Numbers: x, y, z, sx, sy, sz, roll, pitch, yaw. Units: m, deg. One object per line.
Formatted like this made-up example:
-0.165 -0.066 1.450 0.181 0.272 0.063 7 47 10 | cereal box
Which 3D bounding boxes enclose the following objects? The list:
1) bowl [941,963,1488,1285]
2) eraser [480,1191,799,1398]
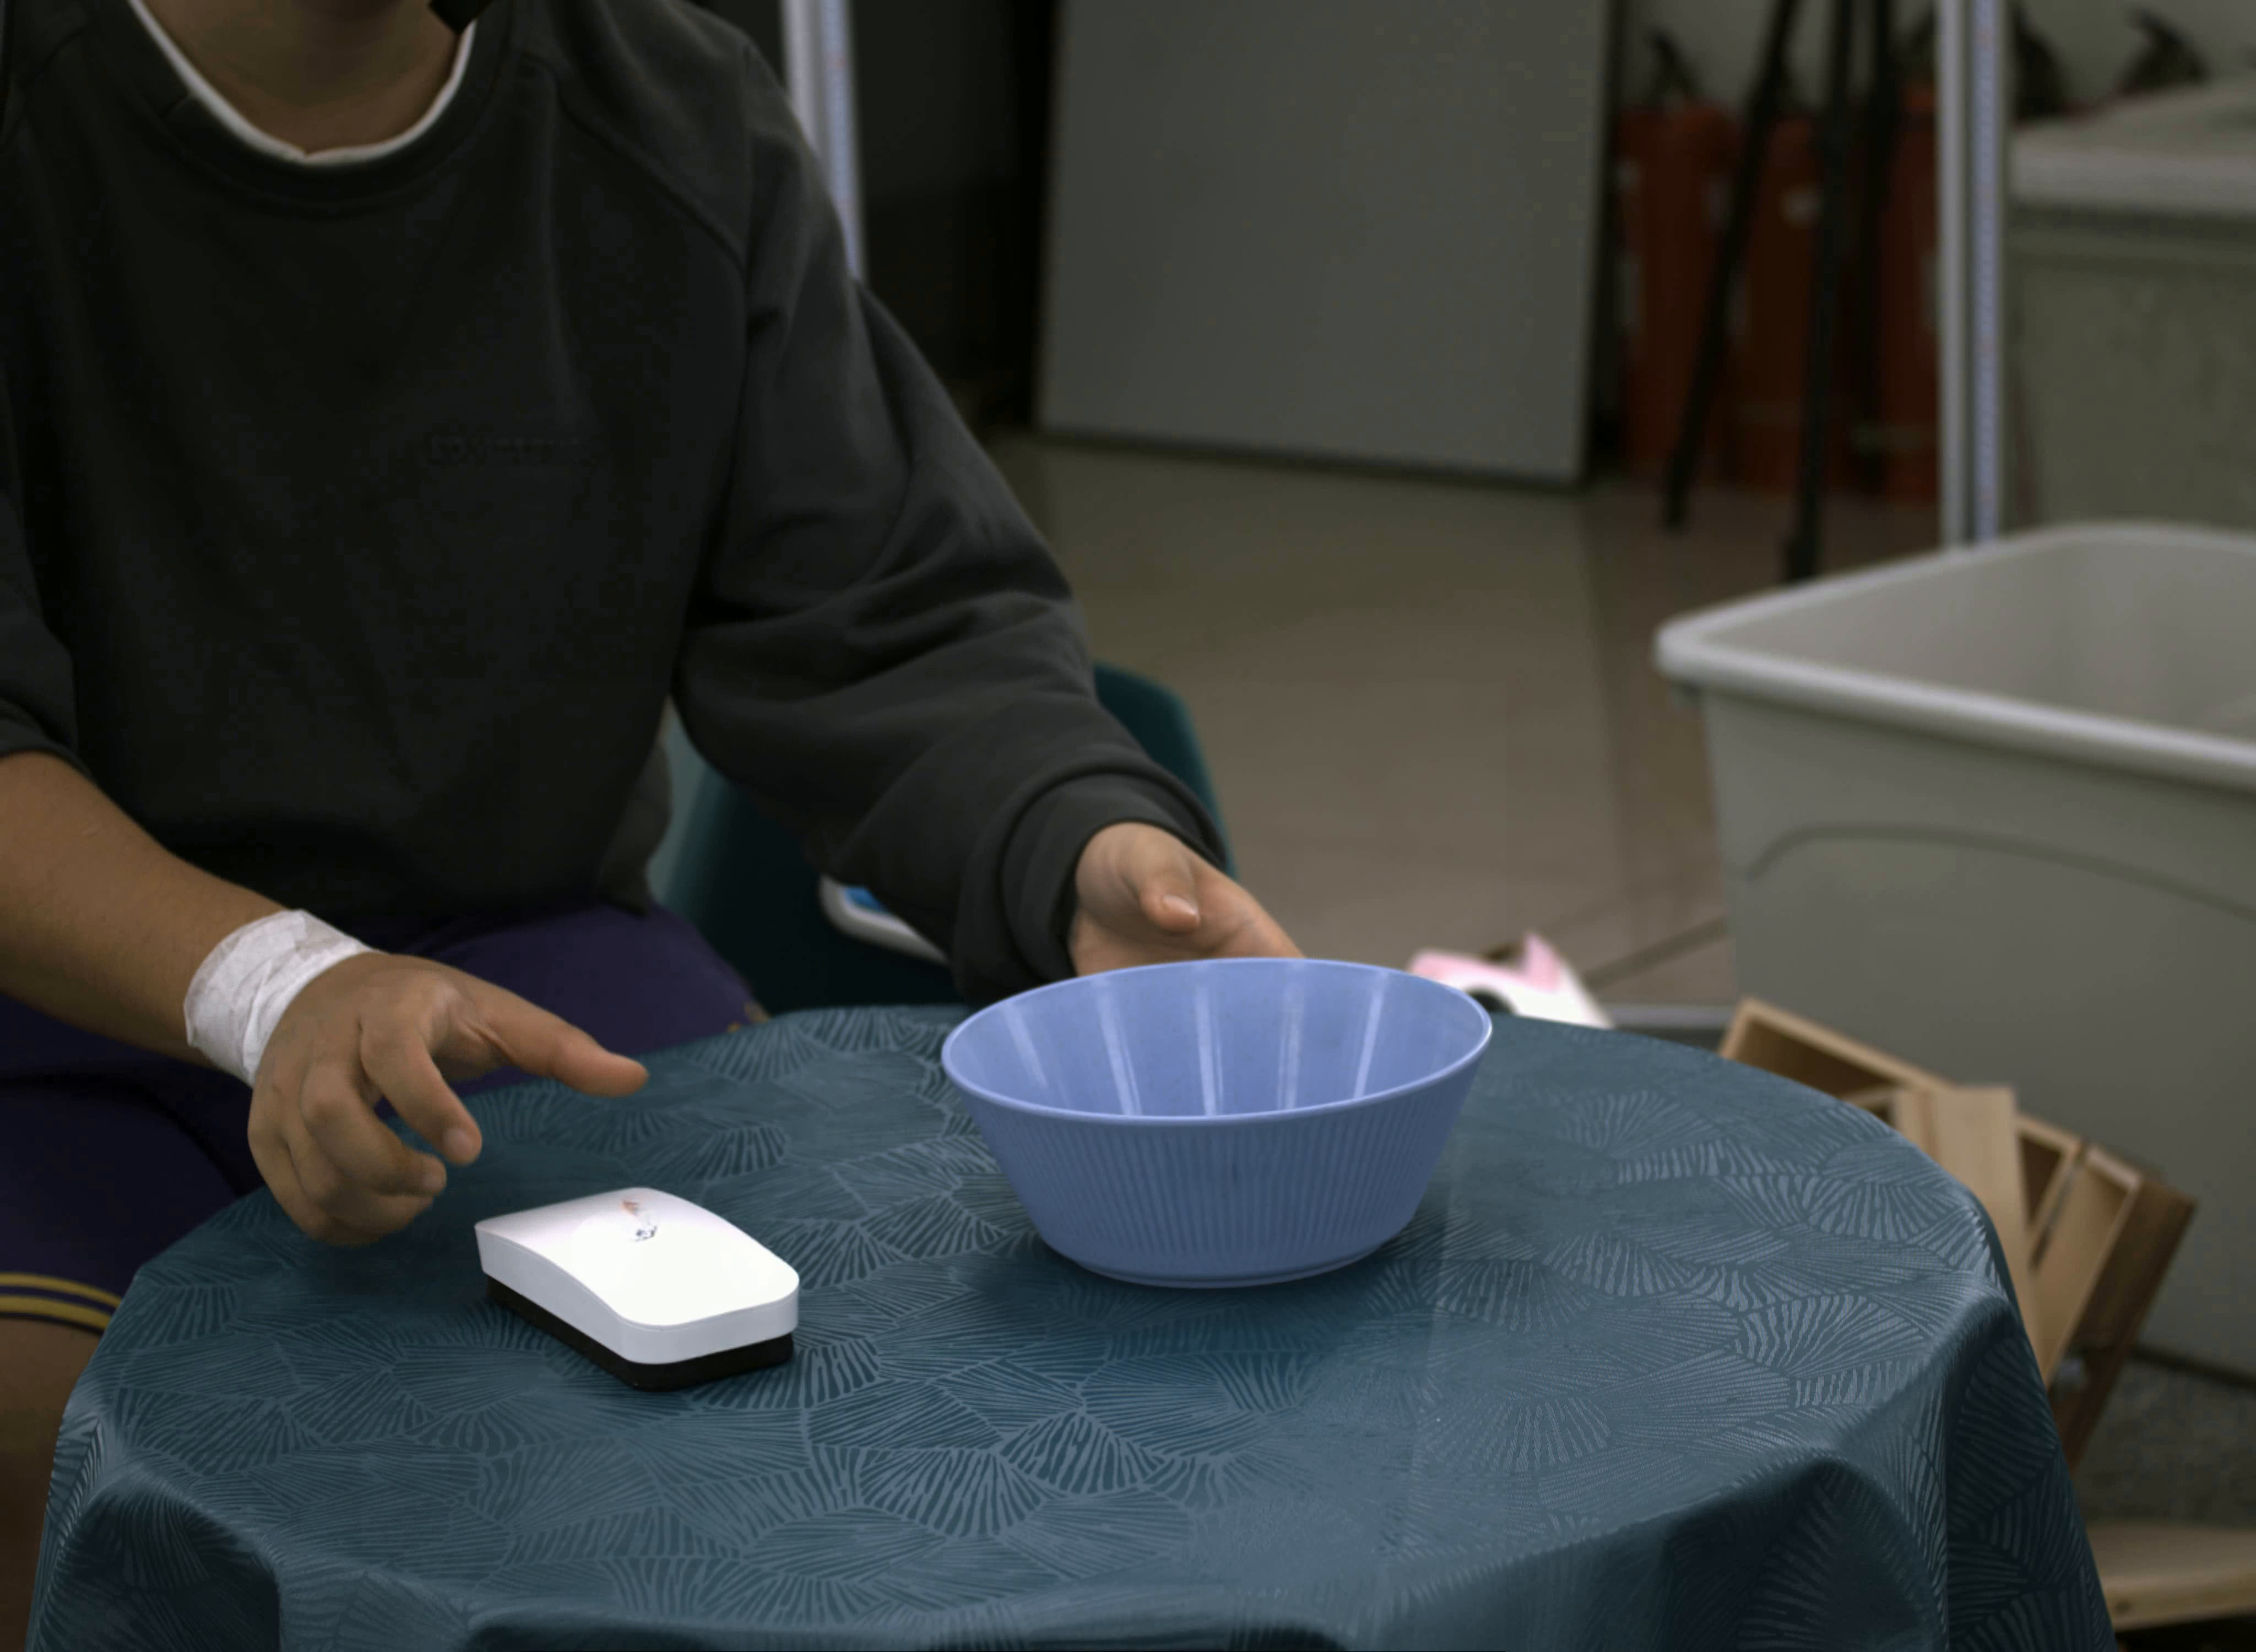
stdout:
0.028 0.097 1.710 0.174 0.071 0.176 -3 13 0 | bowl
-0.150 0.140 1.668 0.062 0.035 0.133 -9 16 -27 | eraser
